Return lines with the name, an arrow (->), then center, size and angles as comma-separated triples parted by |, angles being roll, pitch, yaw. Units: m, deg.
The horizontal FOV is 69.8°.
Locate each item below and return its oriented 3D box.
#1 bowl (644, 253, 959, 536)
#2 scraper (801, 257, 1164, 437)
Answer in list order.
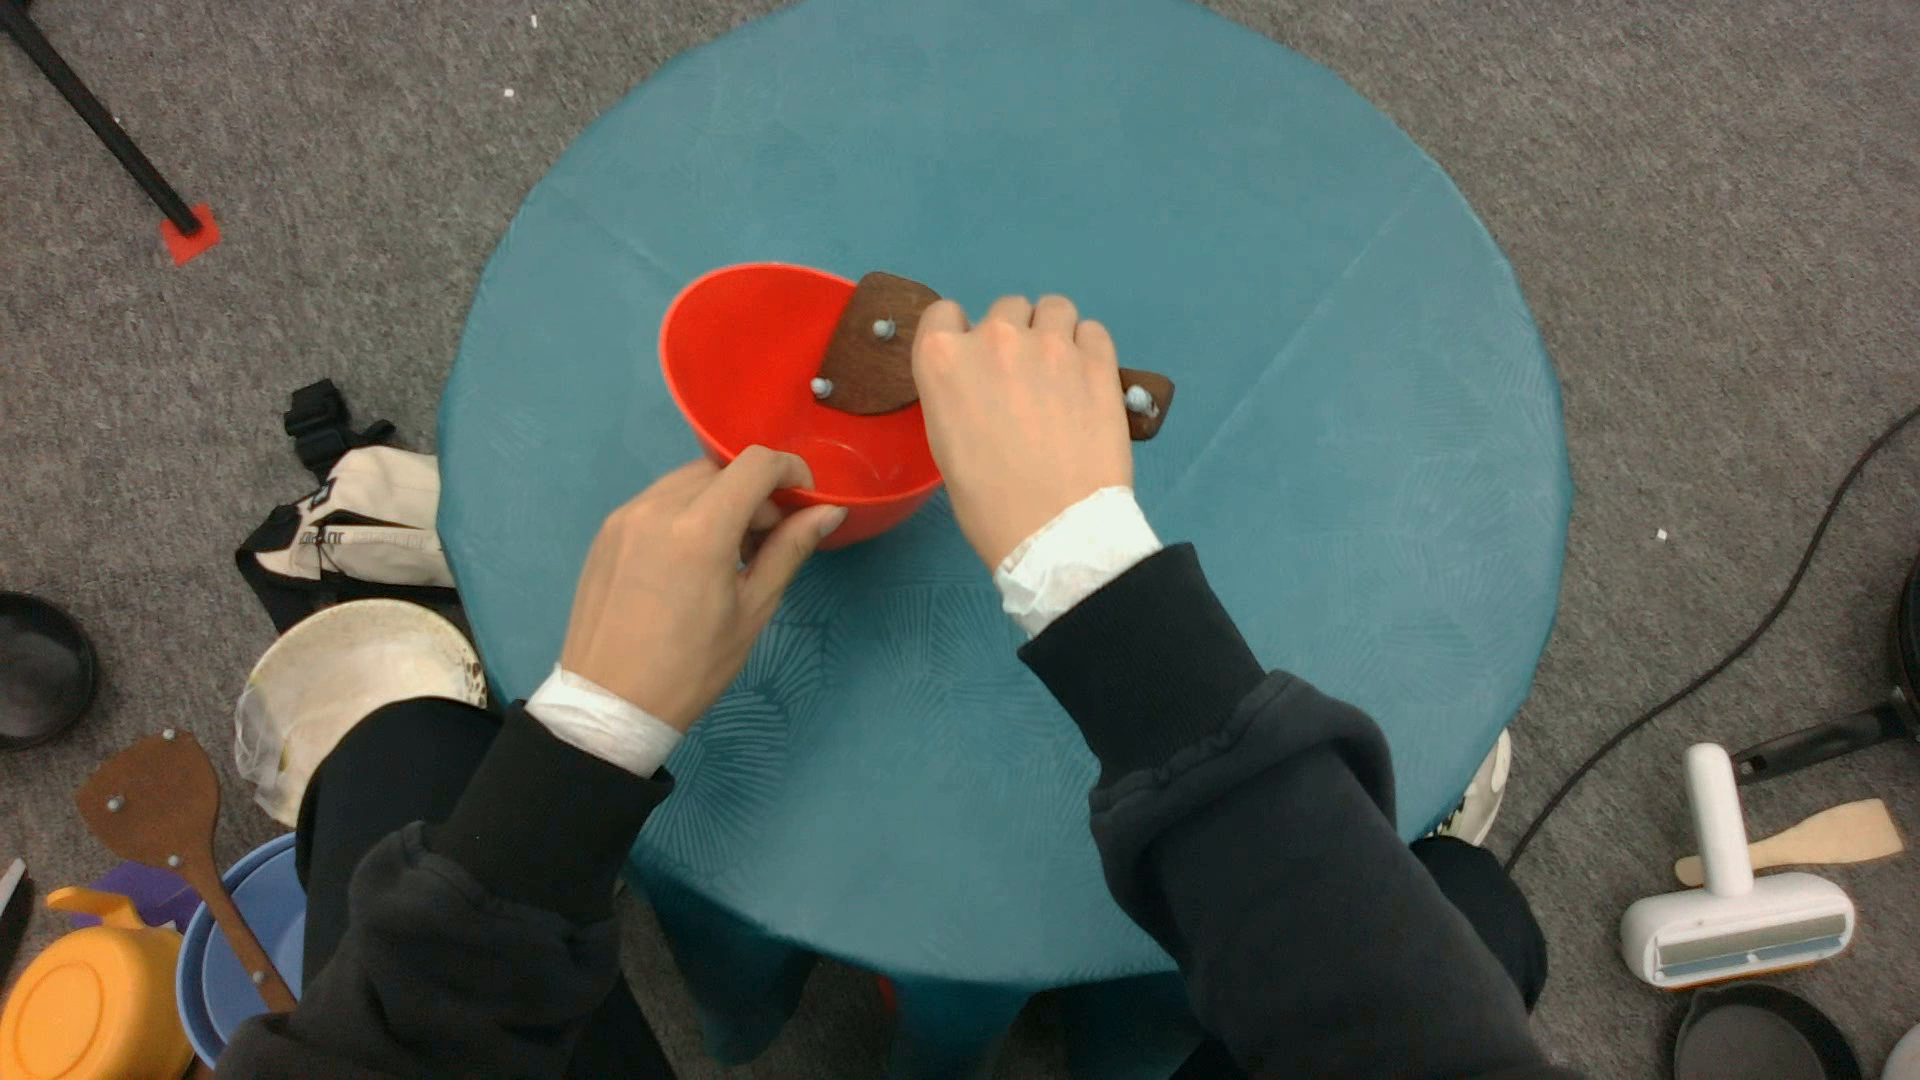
bowl -> -0.079, -0.057, 0.662 | 0.148, 0.104, 0.148 | 9, 51, -11
scraper -> 0.005, -0.079, 0.607 | 0.211, 0.011, 0.076 | 21, 85, 44
